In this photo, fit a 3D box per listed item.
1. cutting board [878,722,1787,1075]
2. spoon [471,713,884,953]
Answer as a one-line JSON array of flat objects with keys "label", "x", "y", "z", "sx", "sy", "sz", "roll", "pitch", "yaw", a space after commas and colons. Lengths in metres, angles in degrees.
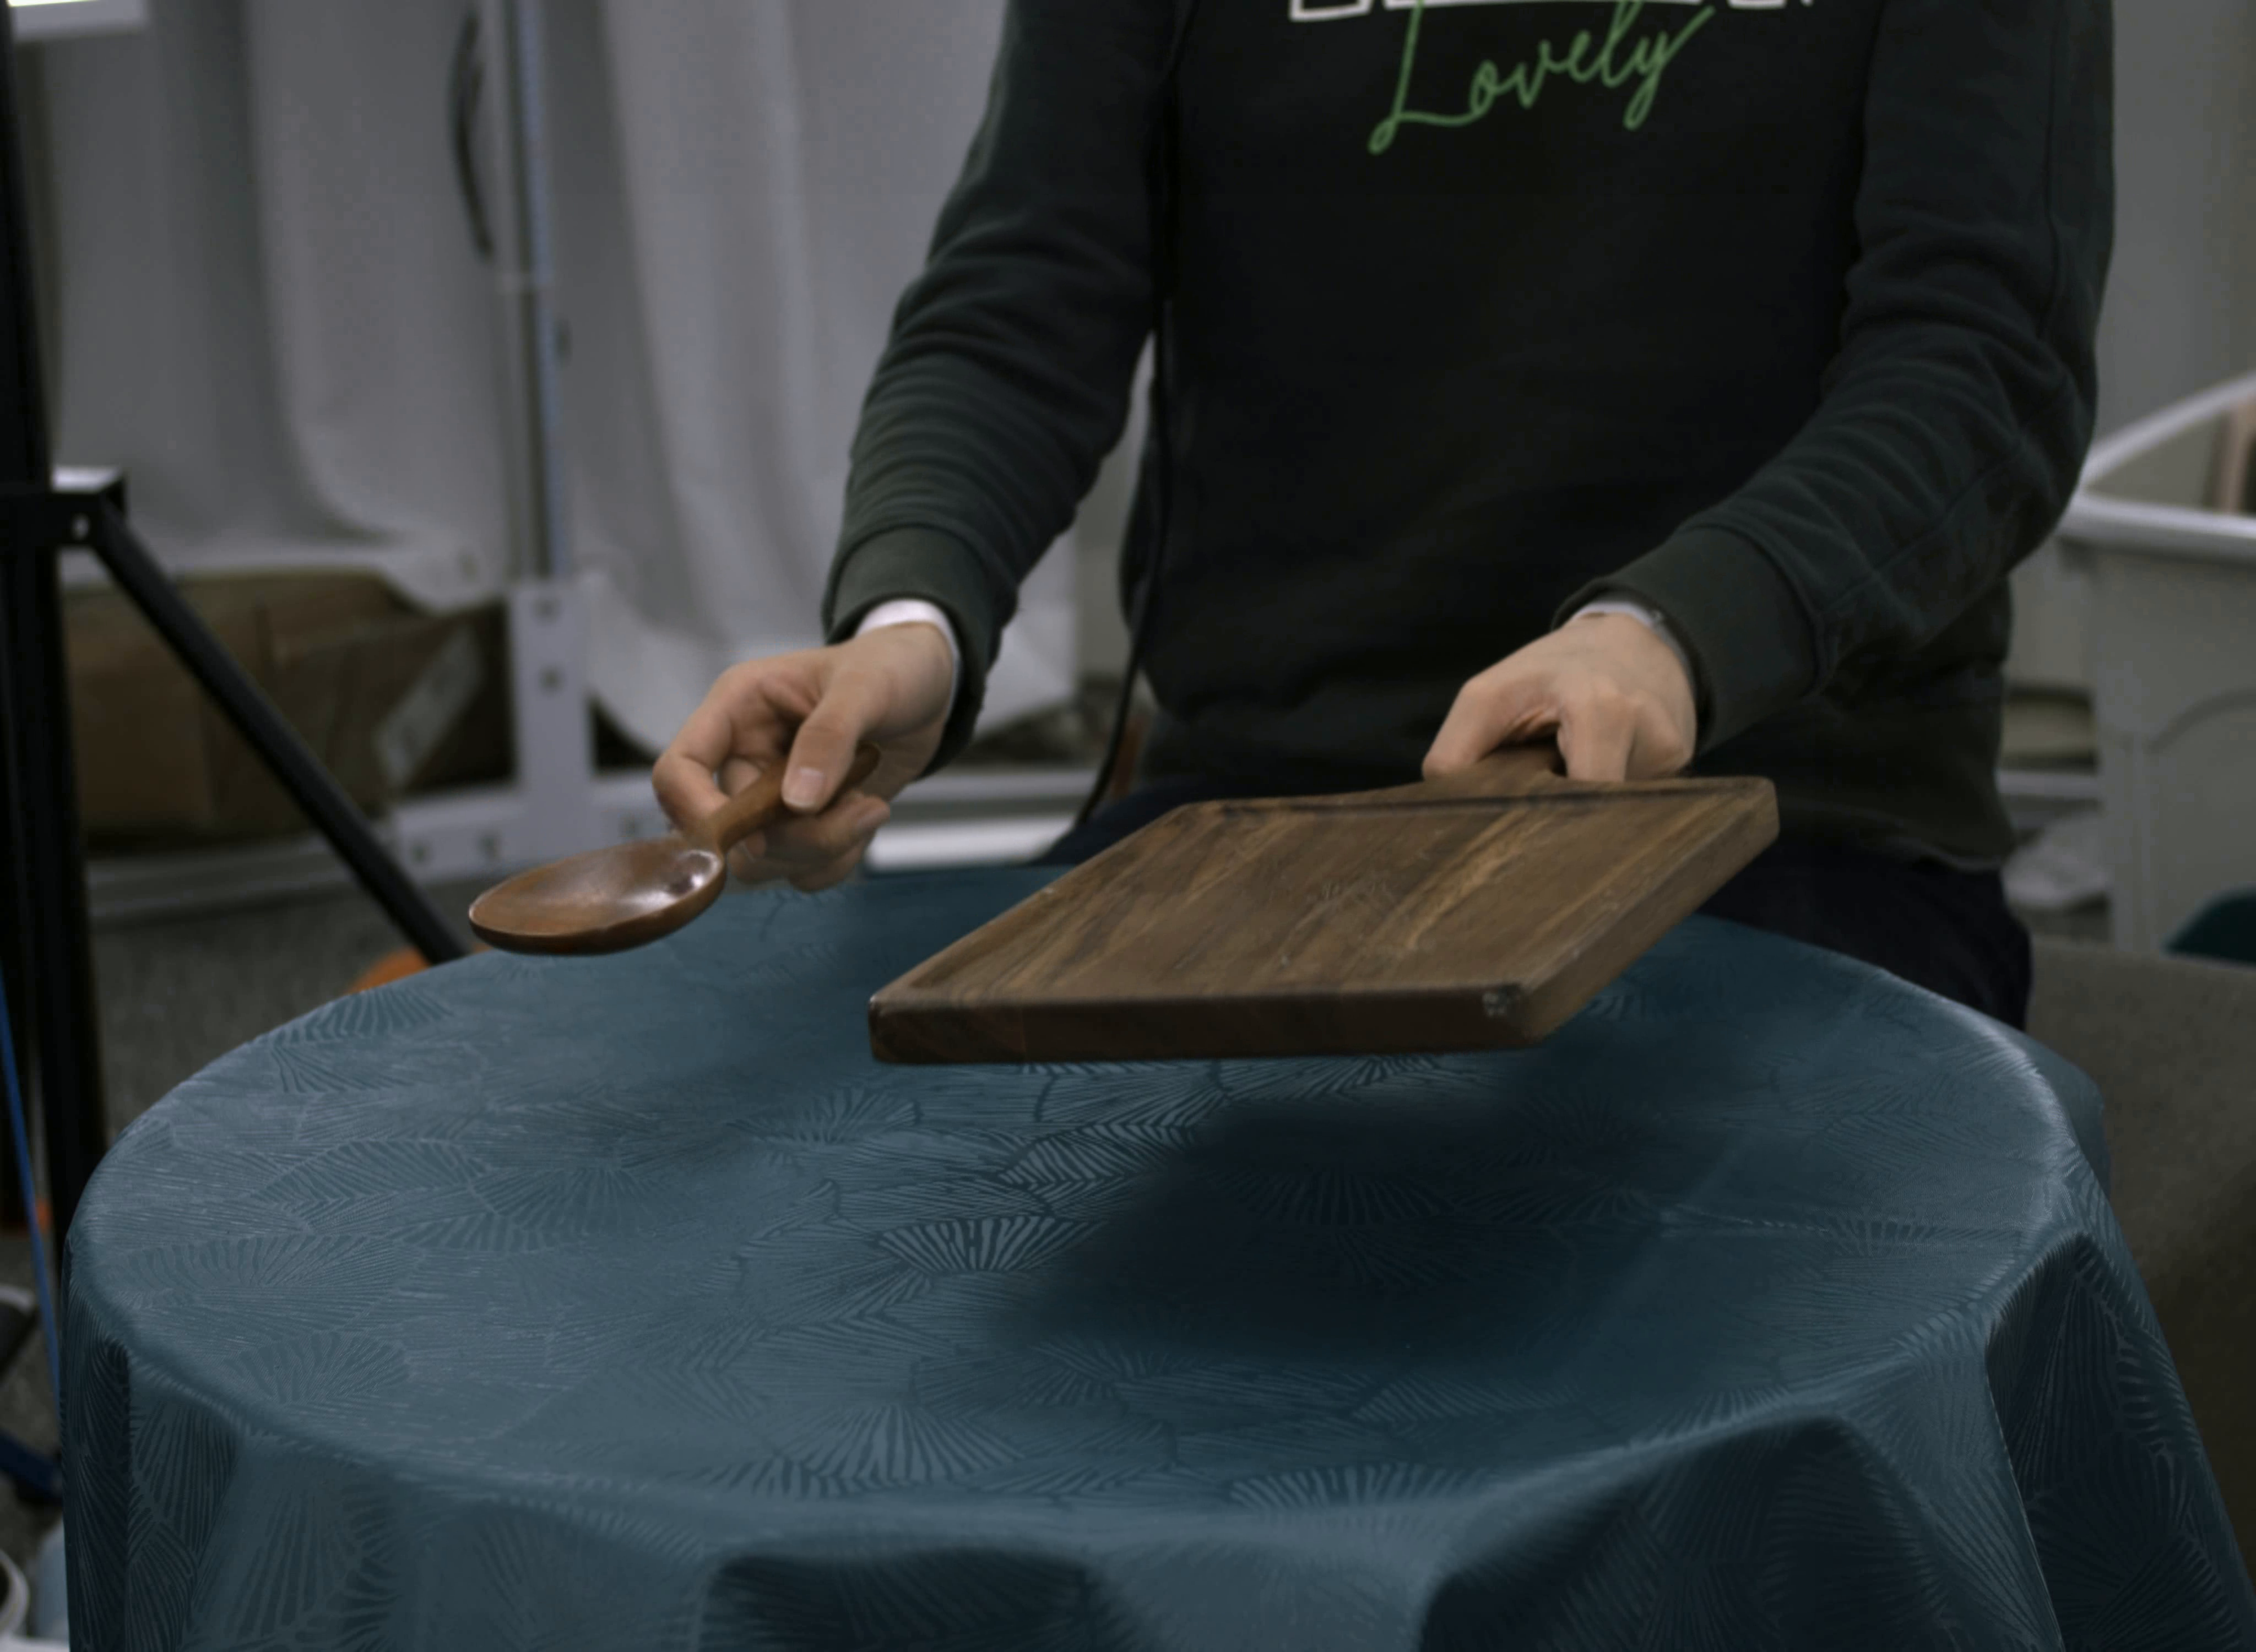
[{"label": "cutting board", "x": 0.082, "y": 0.015, "z": 1.558, "sx": 0.204, "sy": 0.023, "sz": 0.347, "roll": -4, "pitch": 11, "yaw": 24}, {"label": "spoon", "x": -0.133, "y": 0.004, "z": 1.684, "sx": 0.076, "sy": 0.017, "sz": 0.213, "roll": -2, "pitch": 18, "yaw": 28}]
